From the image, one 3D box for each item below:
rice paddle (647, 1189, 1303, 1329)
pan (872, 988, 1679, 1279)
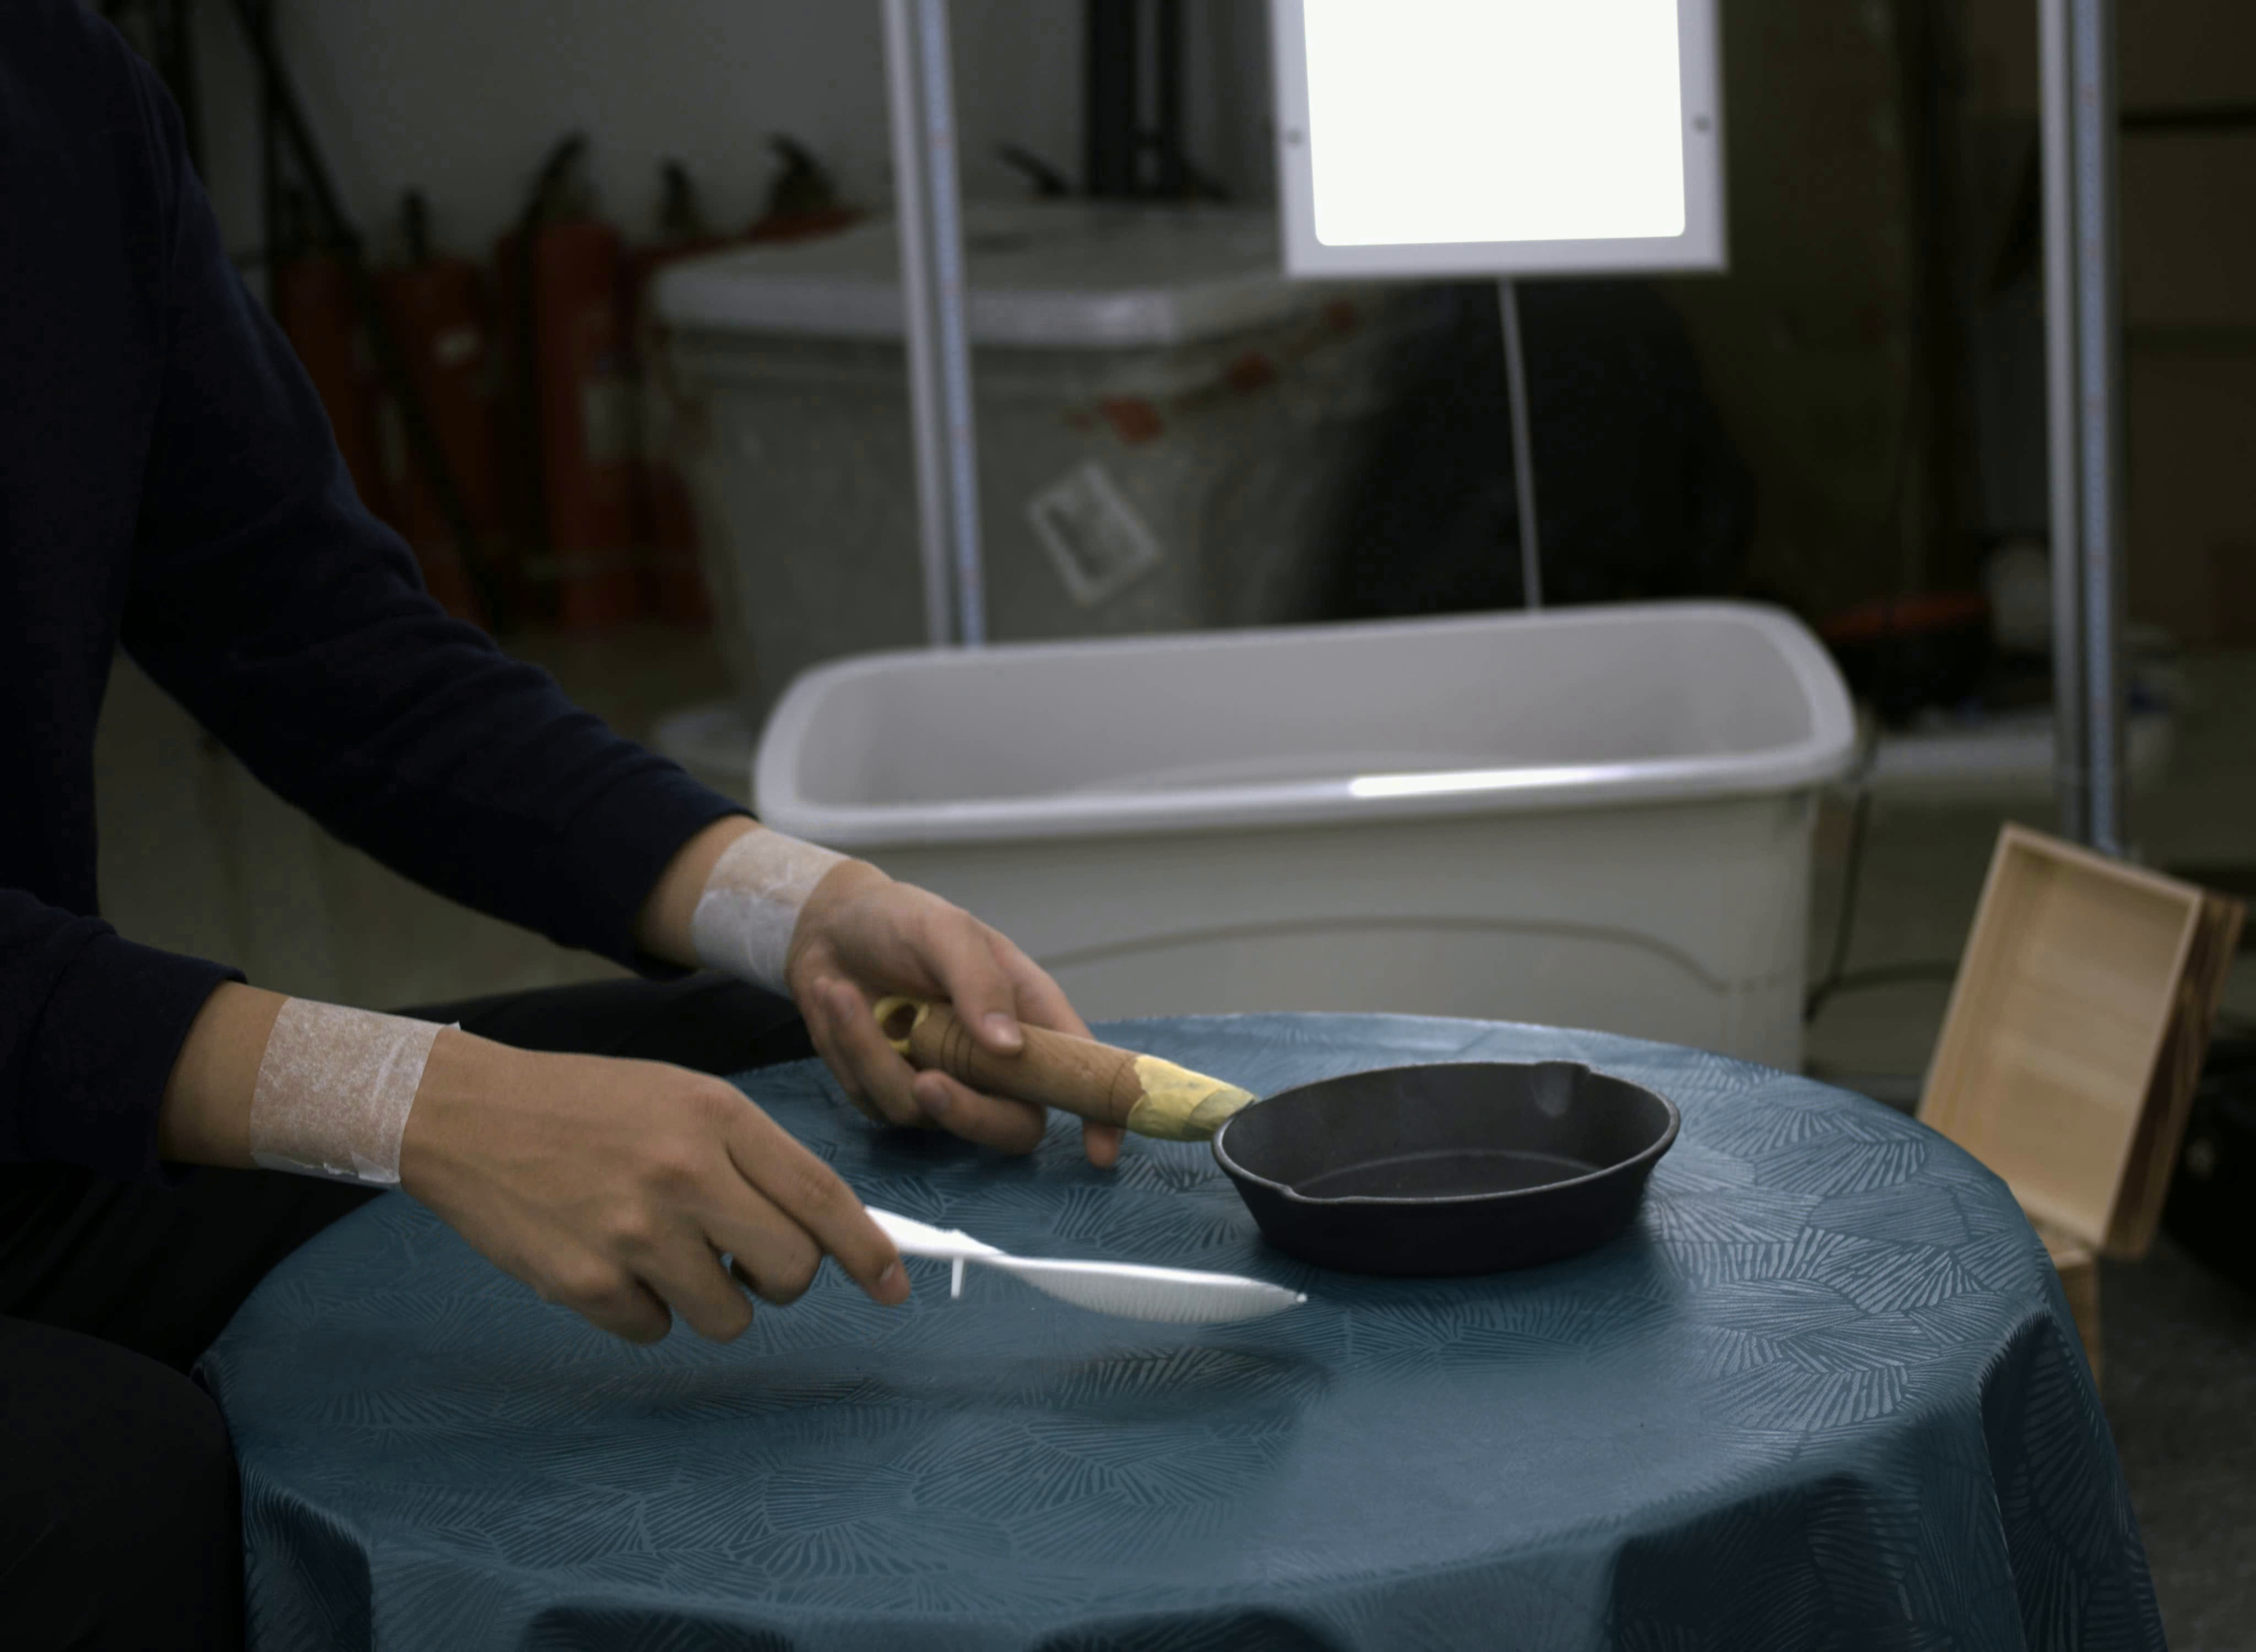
[{"bbox_3d":[-0.047,0.137,1.718,0.205,0.029,0.068,5,-1,6],"label":"rice paddle"},{"bbox_3d":[0.040,0.099,1.887,0.331,0.050,0.164,8,19,40],"label":"pan"}]
